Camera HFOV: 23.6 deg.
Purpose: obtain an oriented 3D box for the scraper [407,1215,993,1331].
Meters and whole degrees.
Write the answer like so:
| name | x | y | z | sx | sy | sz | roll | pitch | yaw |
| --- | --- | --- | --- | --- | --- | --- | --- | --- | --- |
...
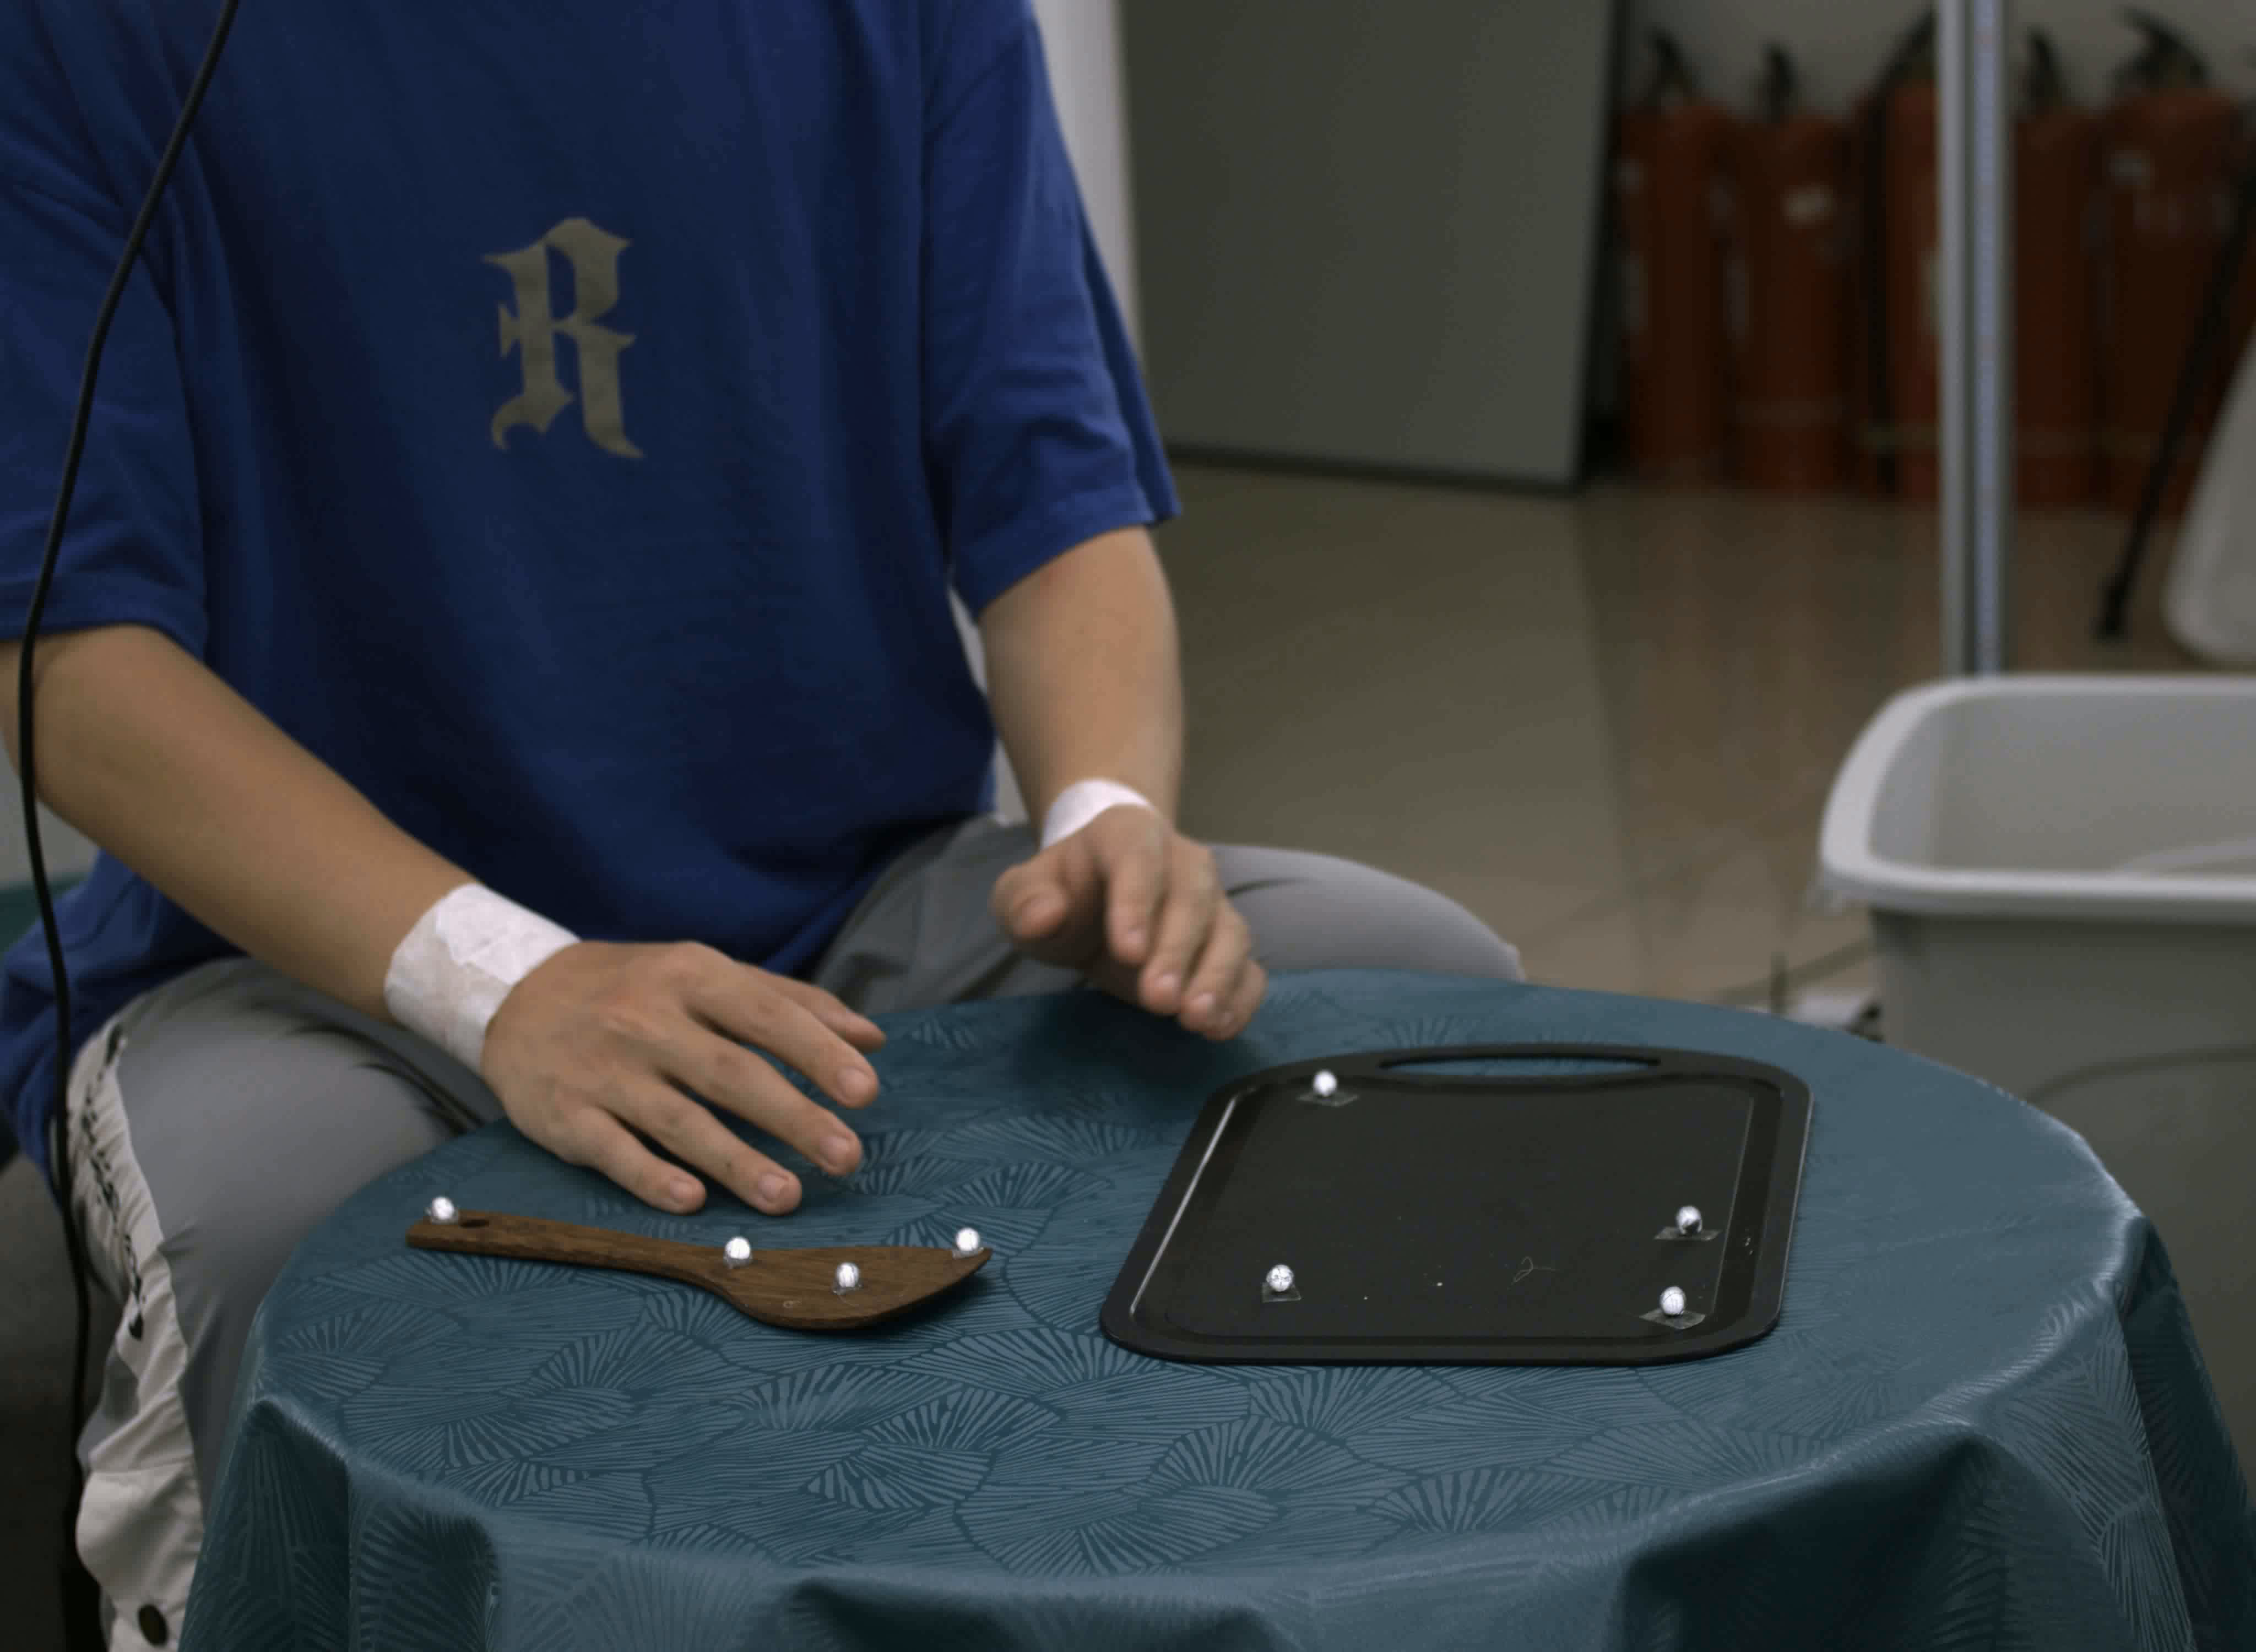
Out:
| name | x | y | z | sx | sy | sz | roll | pitch | yaw |
| --- | --- | --- | --- | --- | --- | --- | --- | --- | --- |
| scraper | -0.142 | 0.139 | 1.720 | 0.212 | 0.011 | 0.074 | 4 | 15 | 33 |

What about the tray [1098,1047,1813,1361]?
| name | x | y | z | sx | sy | sz | roll | pitch | yaw |
| --- | --- | --- | --- | --- | --- | --- | --- | --- | --- |
| tray | 0.112 | 0.117 | 1.743 | 0.210 | 0.010 | 0.324 | -1 | 14 | 11 |
